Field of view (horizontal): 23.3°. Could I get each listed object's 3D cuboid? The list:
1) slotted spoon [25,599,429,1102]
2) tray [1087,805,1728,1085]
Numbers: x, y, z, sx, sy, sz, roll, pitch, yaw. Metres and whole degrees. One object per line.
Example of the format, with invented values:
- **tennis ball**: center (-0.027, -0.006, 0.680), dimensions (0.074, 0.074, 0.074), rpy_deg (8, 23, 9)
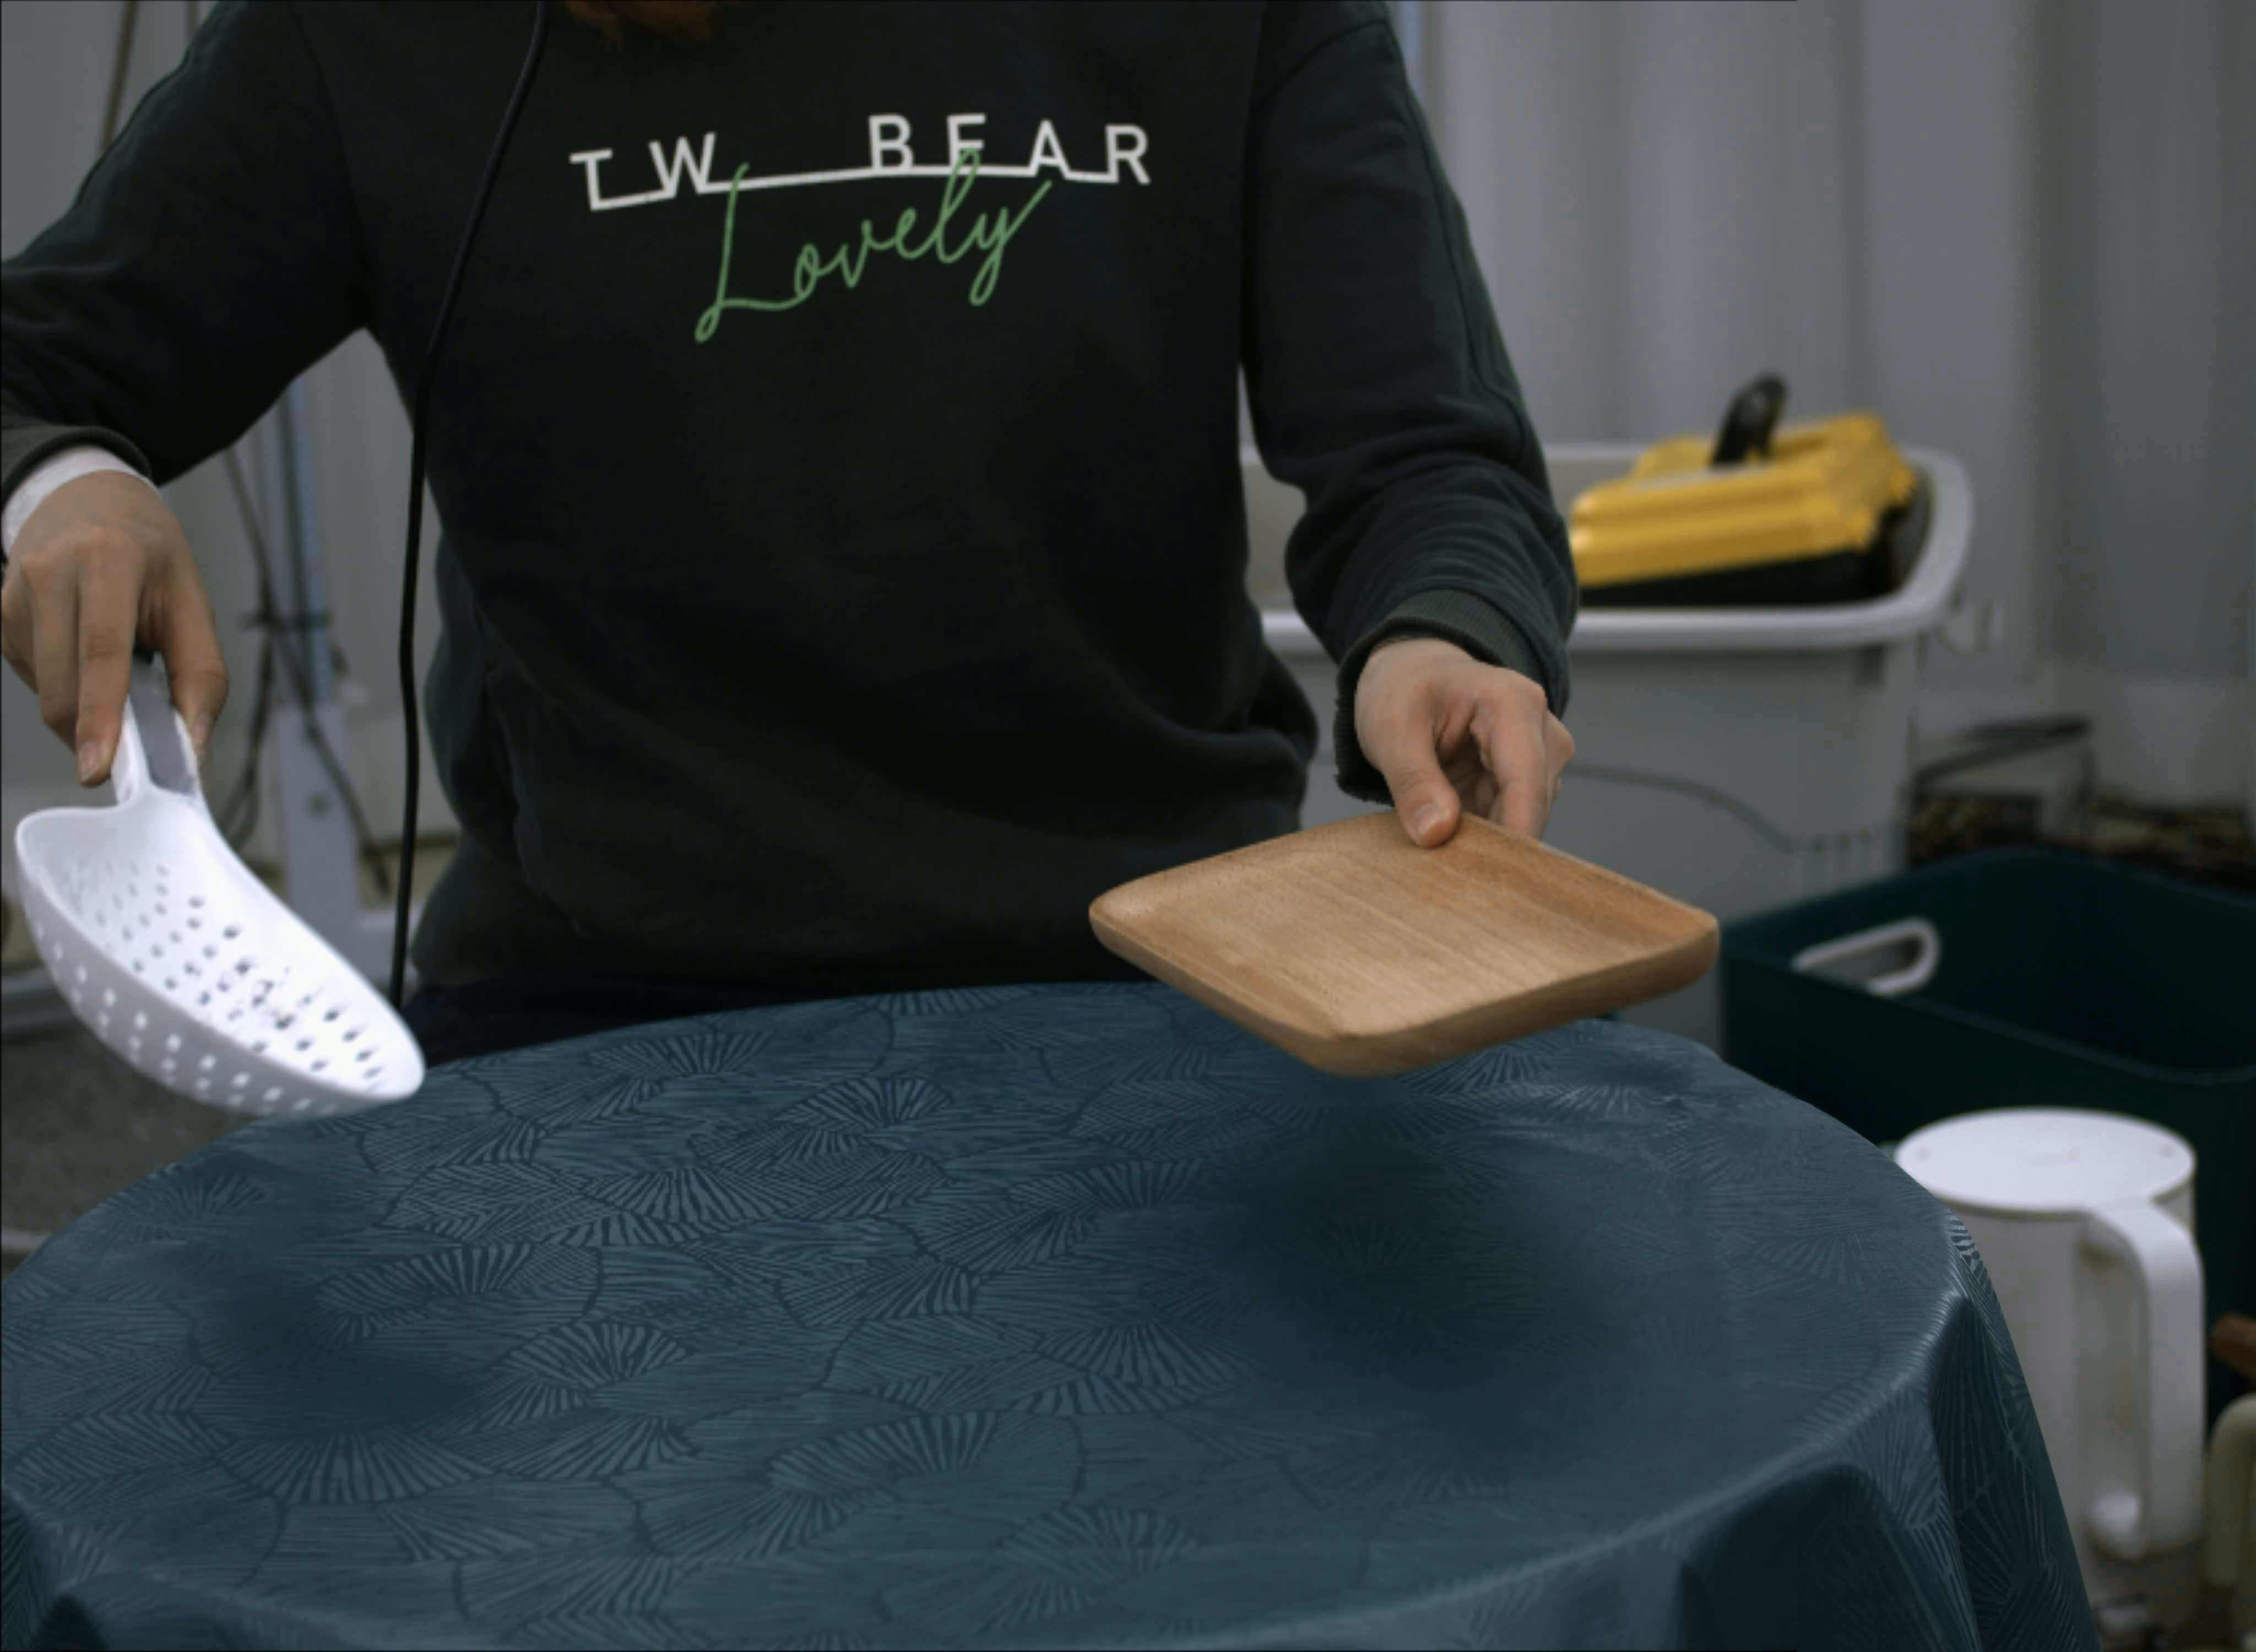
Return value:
- **slotted spoon**: center (-0.289, -0.002, 1.665), dimensions (0.135, 0.045, 0.354), rpy_deg (31, 15, -24)
- **tray**: center (0.078, 0.033, 1.616), dimensions (0.130, 0.023, 0.252), rpy_deg (-14, 12, -15)
